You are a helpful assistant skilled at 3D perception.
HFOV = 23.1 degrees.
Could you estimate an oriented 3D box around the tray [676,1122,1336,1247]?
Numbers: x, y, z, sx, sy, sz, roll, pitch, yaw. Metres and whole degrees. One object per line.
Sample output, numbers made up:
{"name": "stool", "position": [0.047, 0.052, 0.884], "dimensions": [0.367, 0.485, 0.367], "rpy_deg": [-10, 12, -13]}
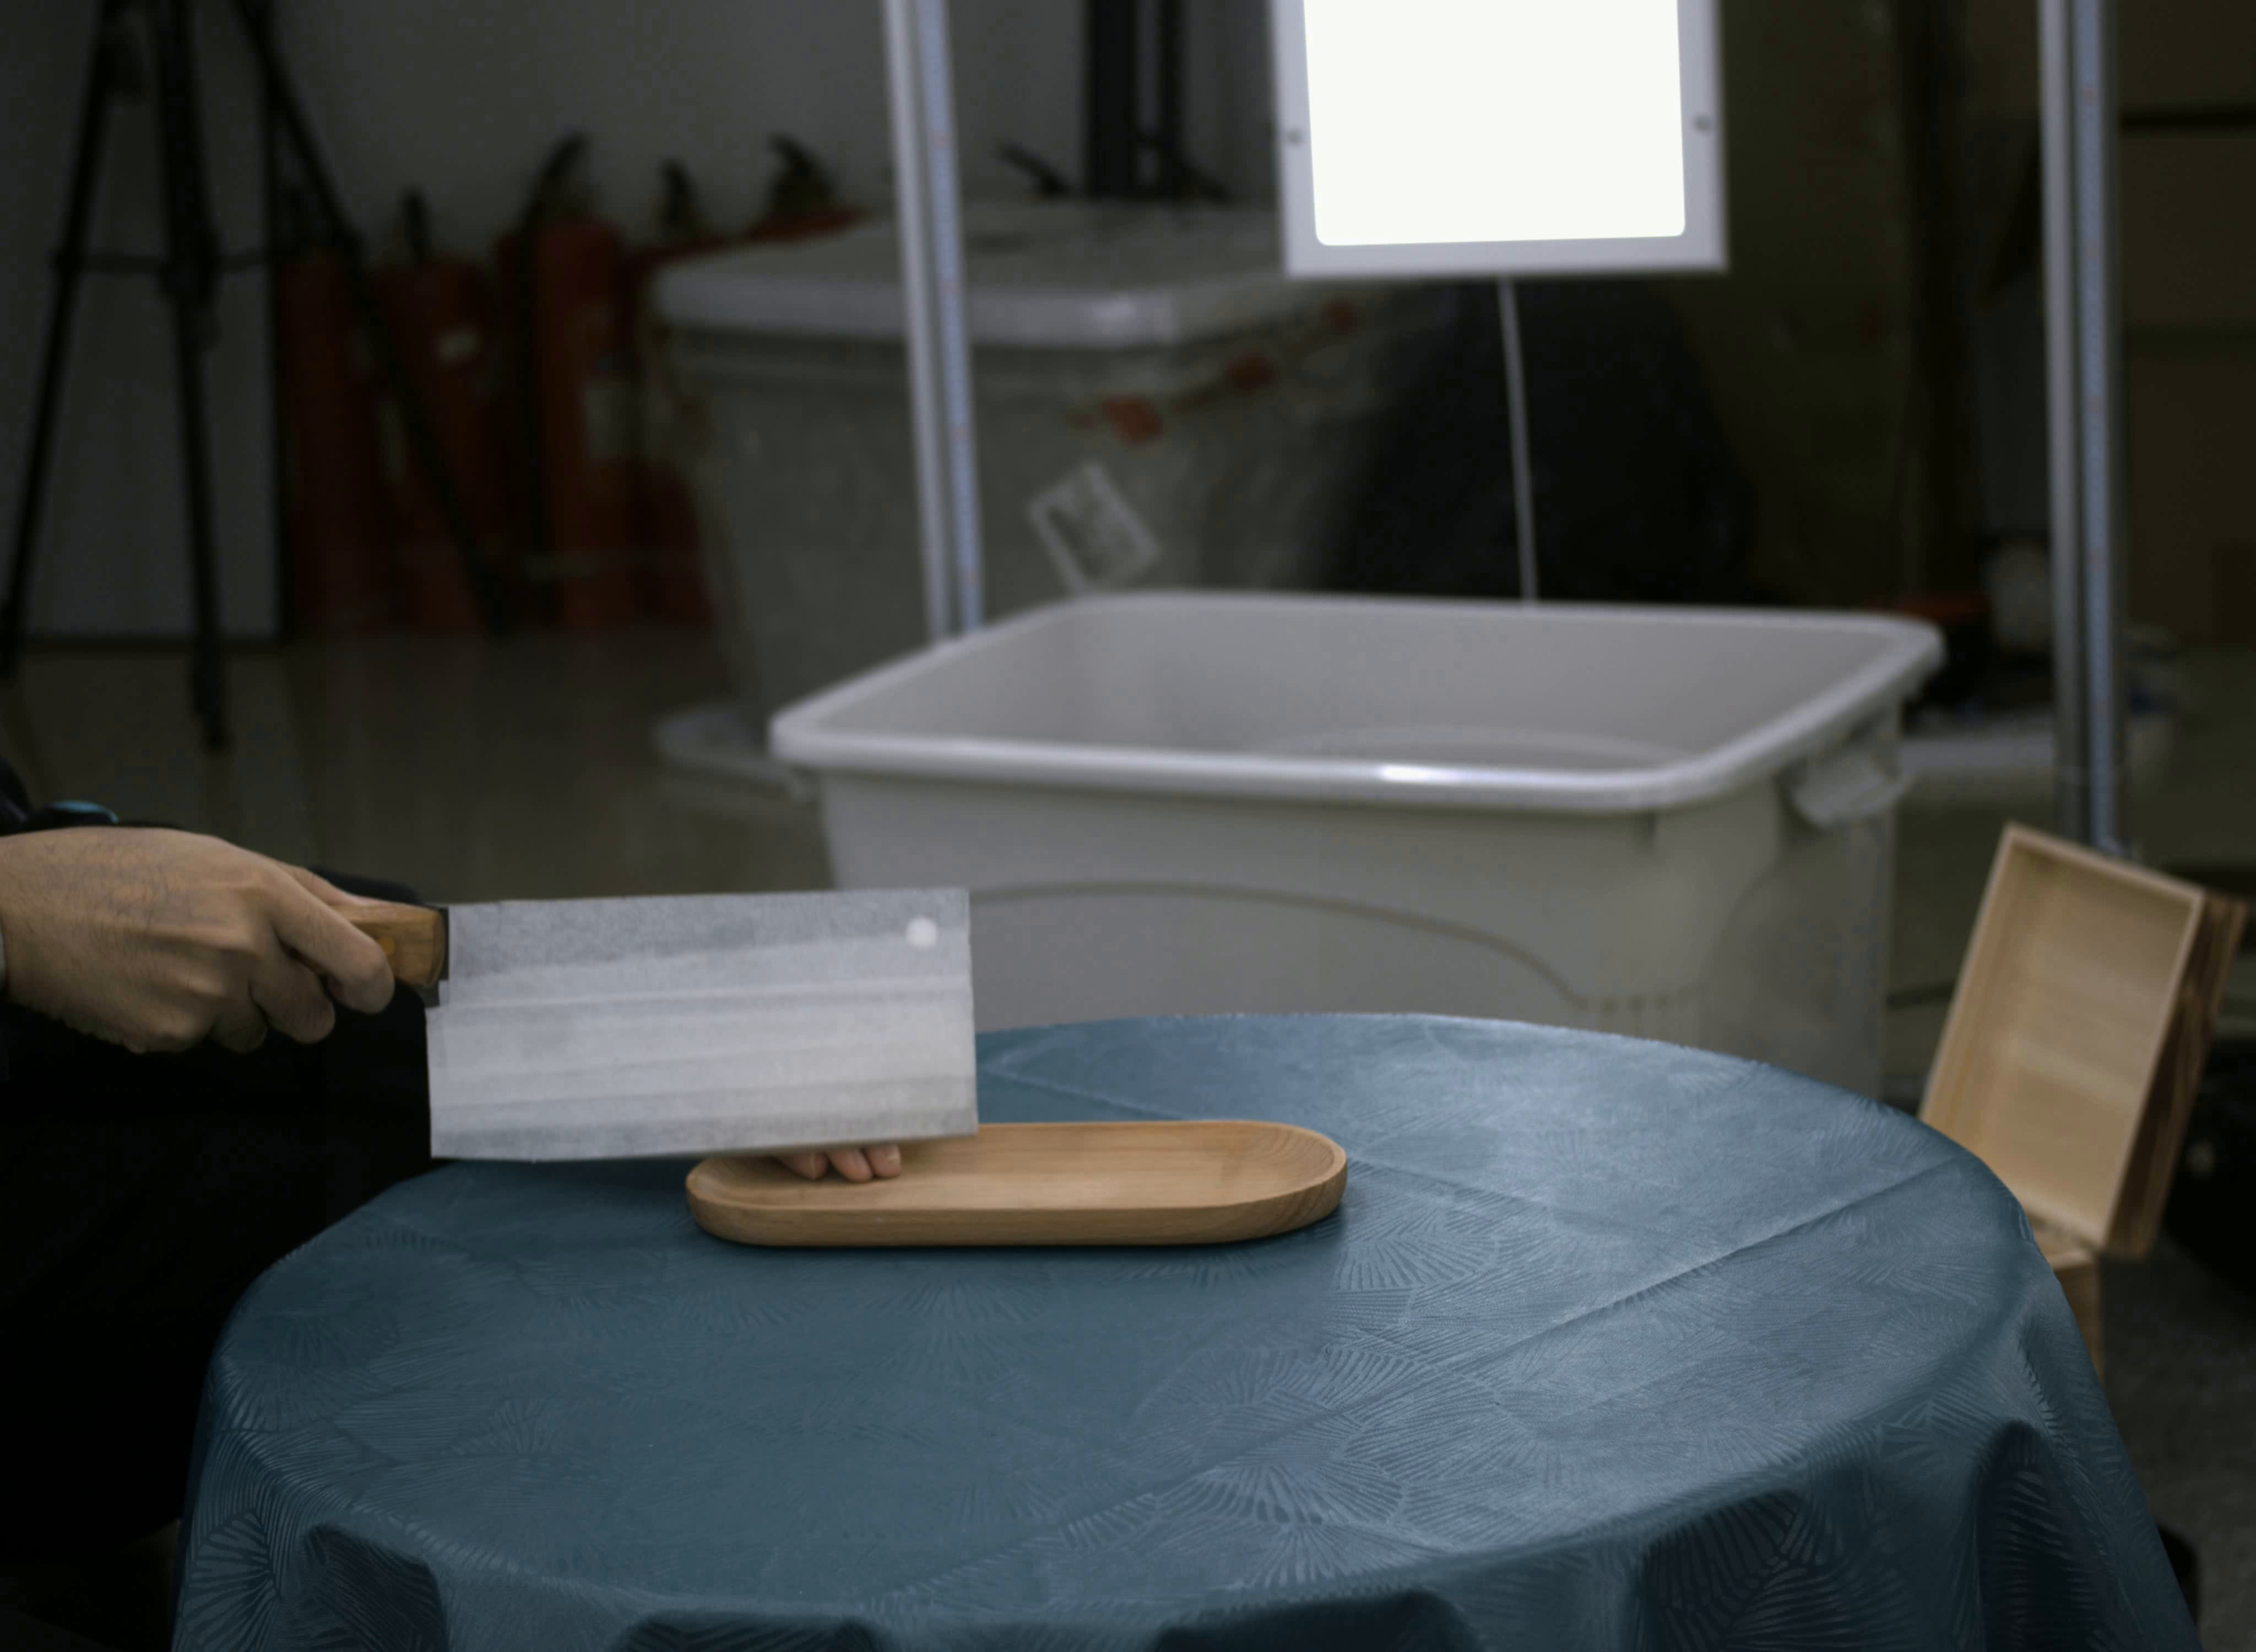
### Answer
{"name": "tray", "position": [-0.042, 0.123, 1.889], "dimensions": [0.233, 0.020, 0.100], "rpy_deg": [-2, 13, 16]}

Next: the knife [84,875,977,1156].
{"name": "knife", "position": [-0.205, 0.067, 1.900], "dimensions": [0.305, 0.093, 0.021], "rpy_deg": [-3, 10, 3]}
